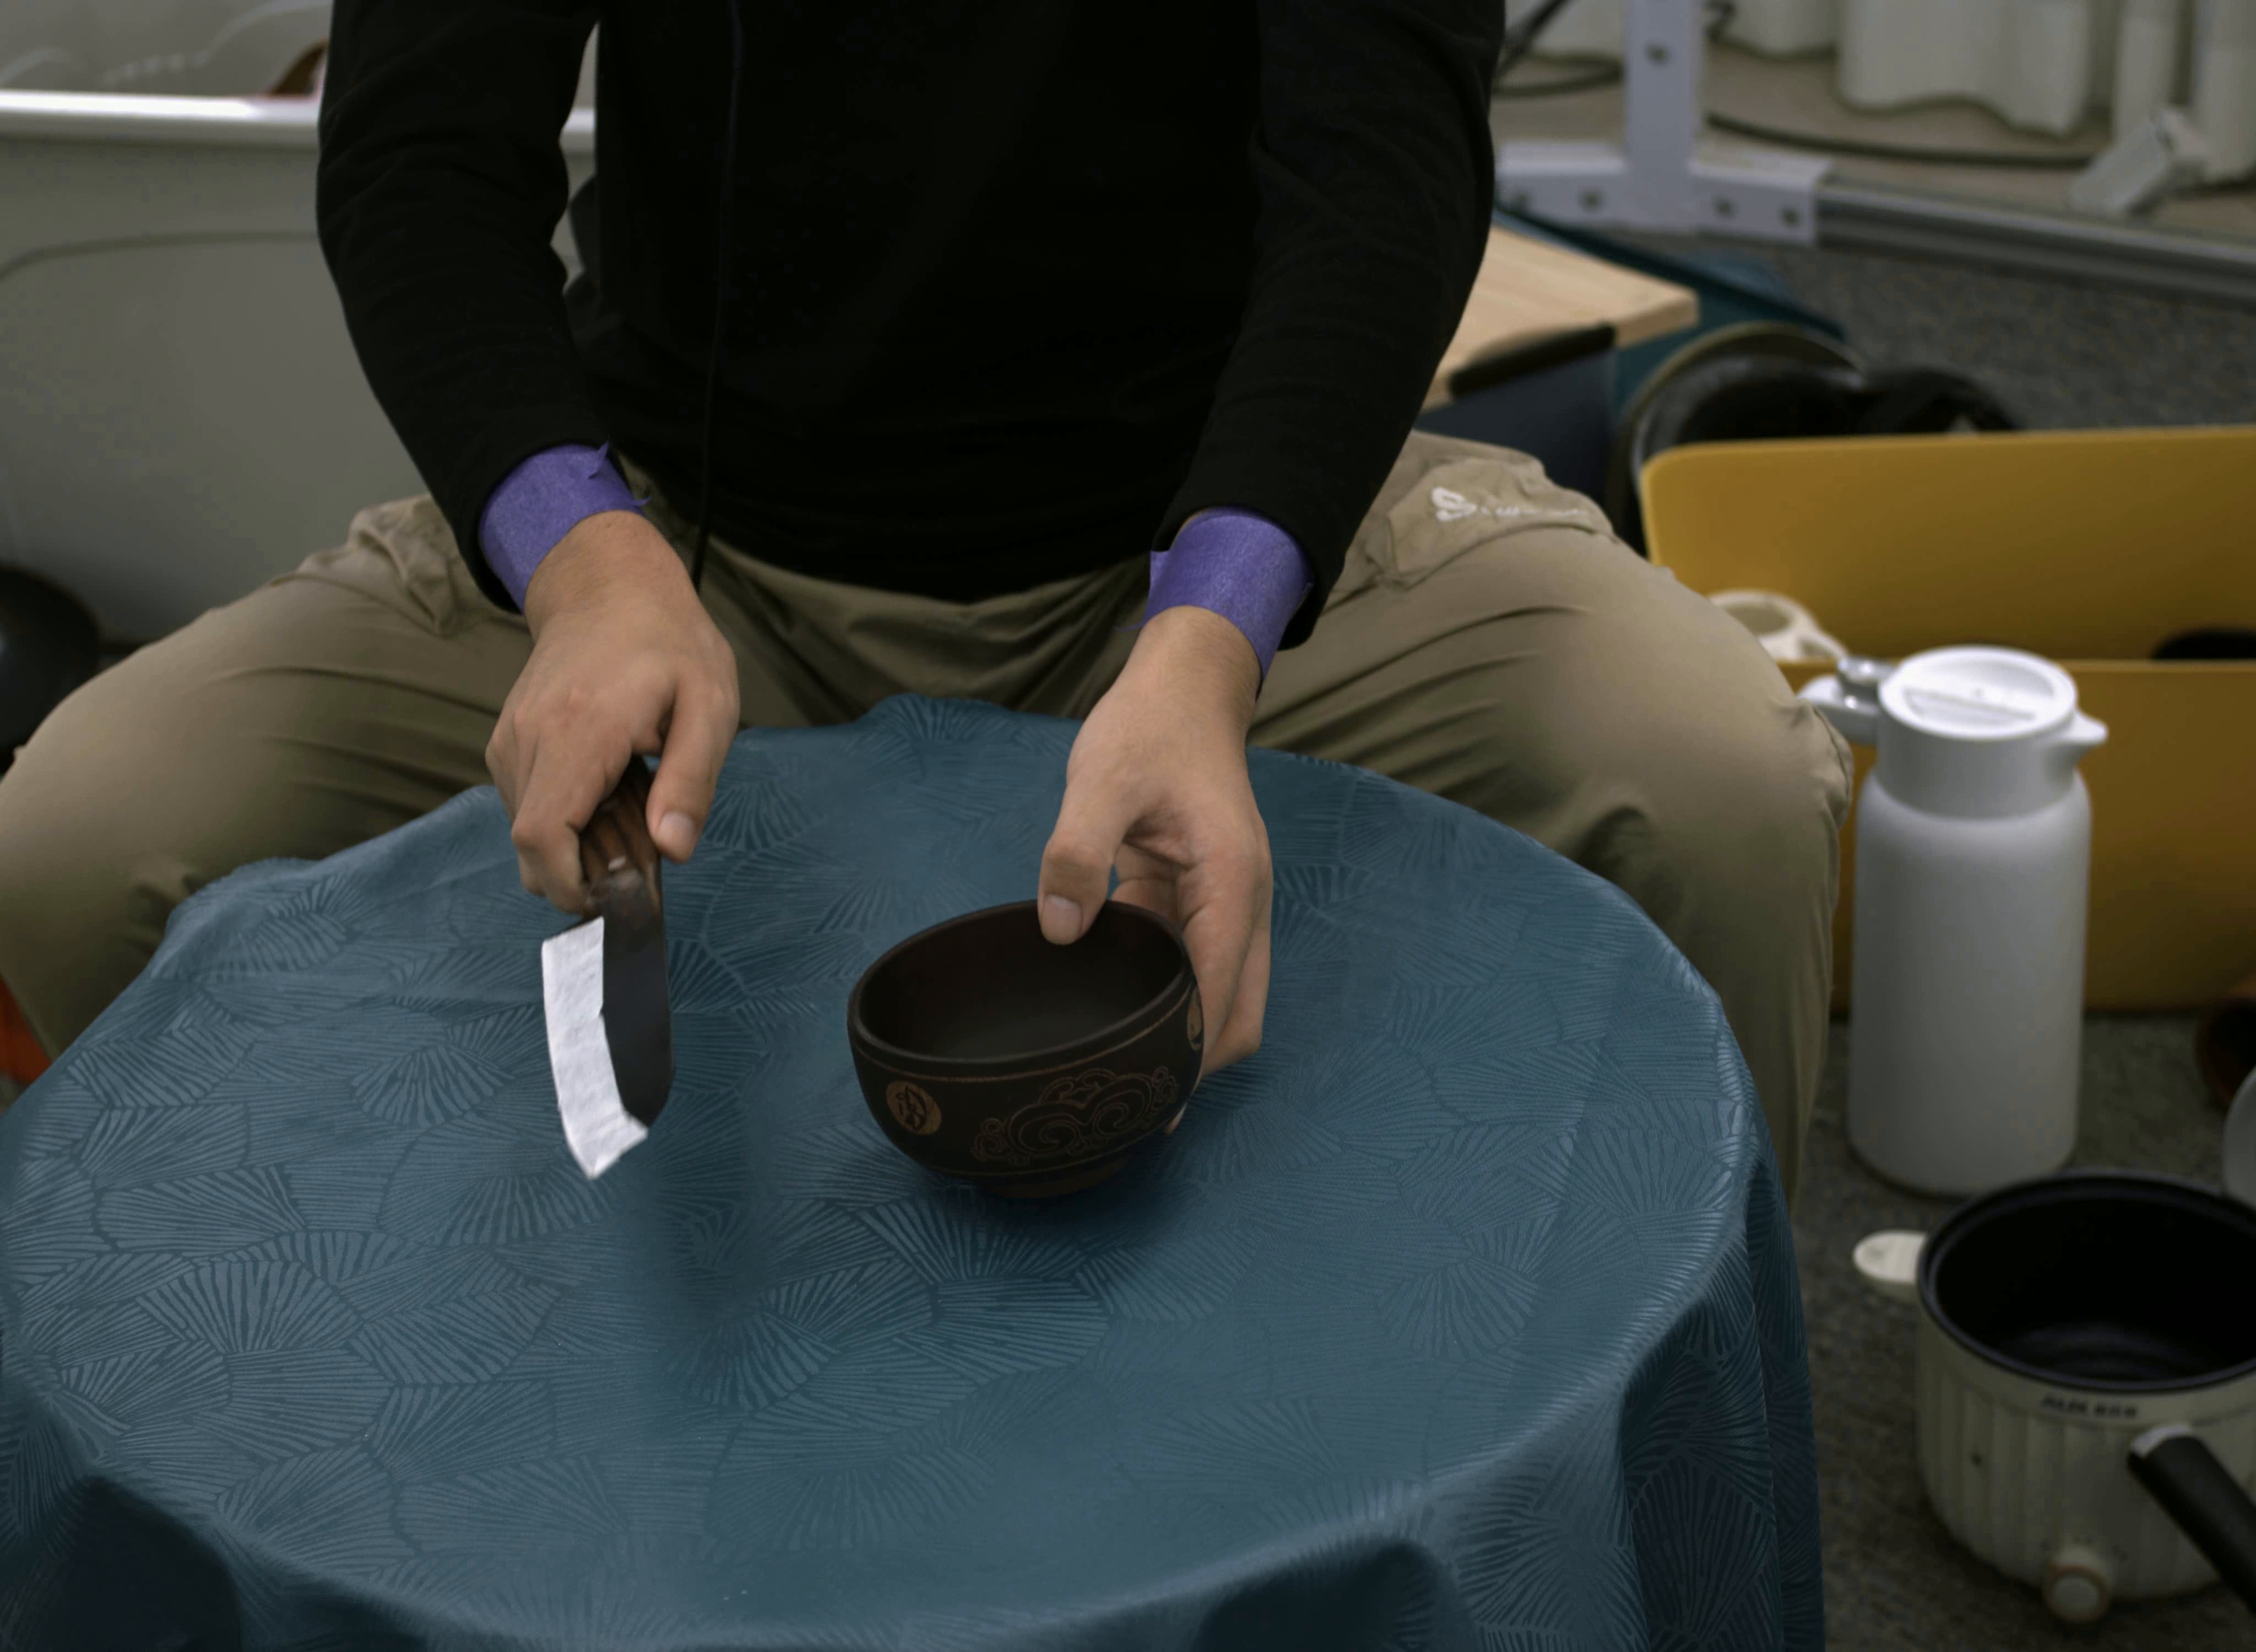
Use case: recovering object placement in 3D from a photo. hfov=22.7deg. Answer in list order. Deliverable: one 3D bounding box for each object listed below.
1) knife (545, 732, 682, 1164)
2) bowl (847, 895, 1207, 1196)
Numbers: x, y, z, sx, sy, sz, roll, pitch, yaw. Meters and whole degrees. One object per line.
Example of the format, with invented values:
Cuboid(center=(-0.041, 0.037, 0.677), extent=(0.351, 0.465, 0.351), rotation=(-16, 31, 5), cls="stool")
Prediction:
Cuboid(center=(-0.173, 0.039, 1.880), extent=(0.050, 0.020, 0.293), rotation=(-22, 26, 6), cls="knife")
Cuboid(center=(-0.030, 0.079, 1.861), extent=(0.117, 0.069, 0.119), rotation=(-9, 23, 4), cls="bowl")
